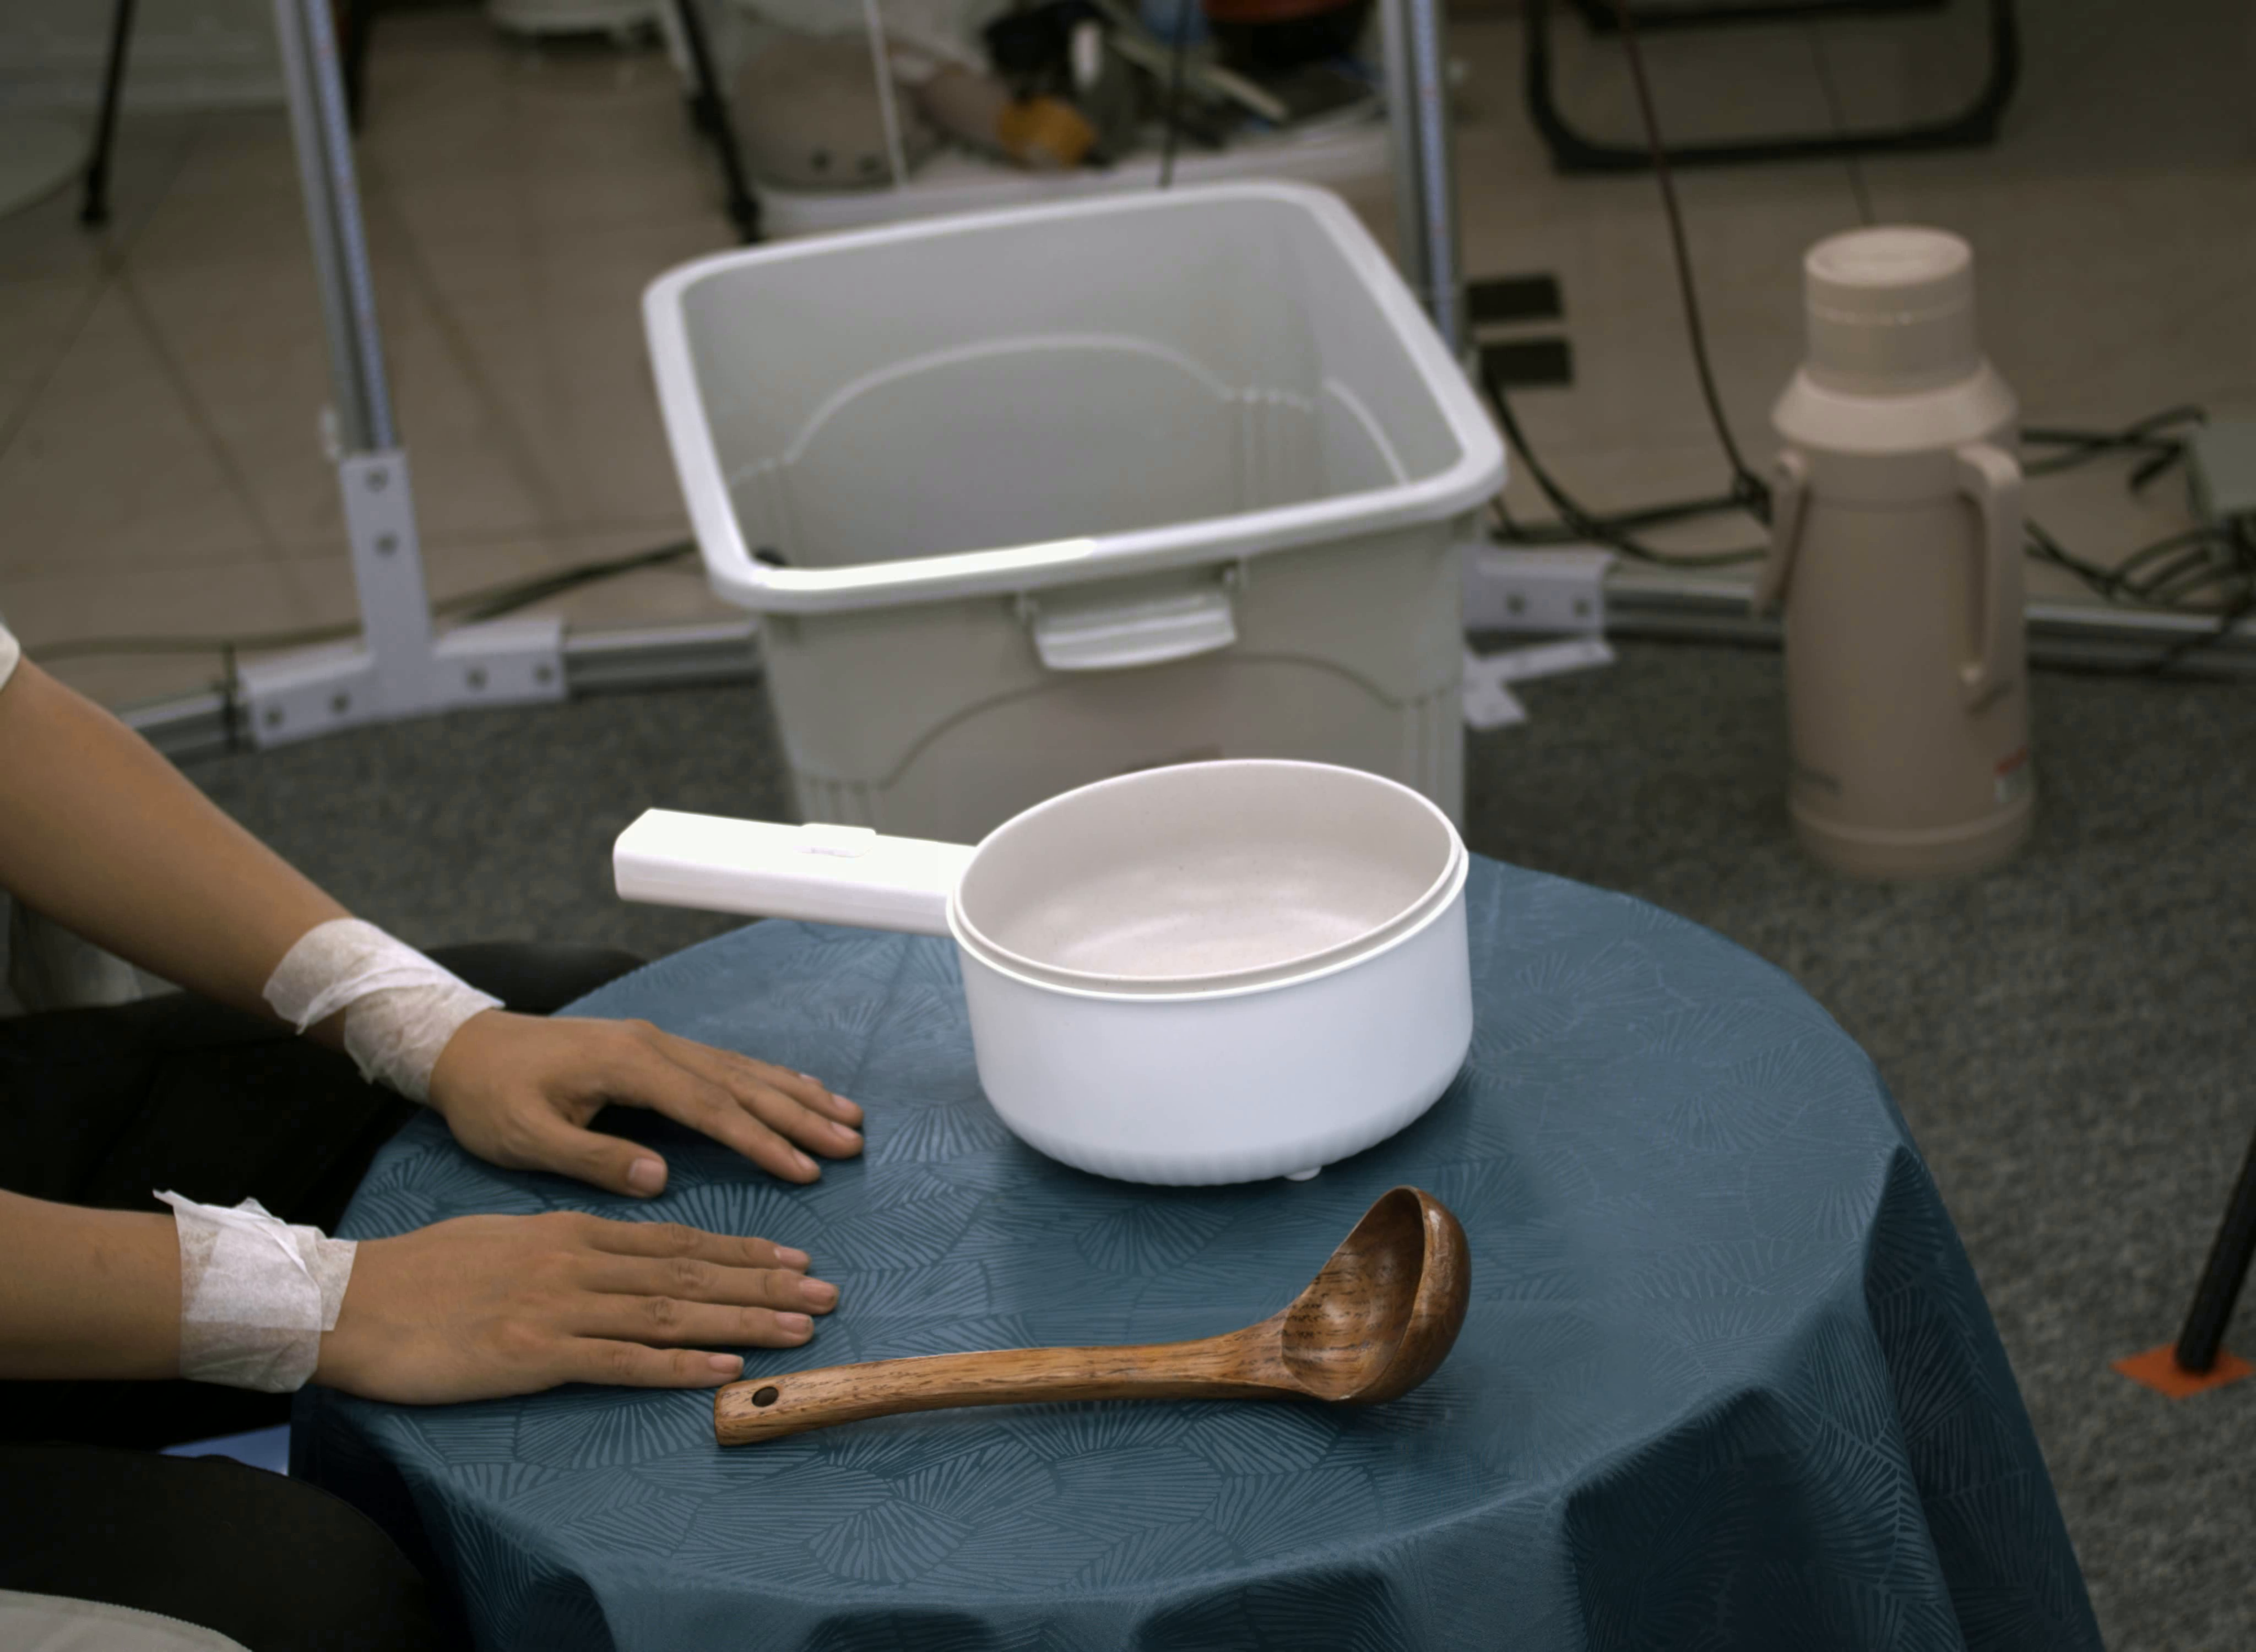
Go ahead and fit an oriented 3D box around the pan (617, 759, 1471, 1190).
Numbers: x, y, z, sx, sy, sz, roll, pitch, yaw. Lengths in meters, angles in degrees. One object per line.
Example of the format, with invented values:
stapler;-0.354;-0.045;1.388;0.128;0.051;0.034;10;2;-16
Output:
pan;-0.035;0.055;2.223;0.353;0.104;0.198;5;29;25

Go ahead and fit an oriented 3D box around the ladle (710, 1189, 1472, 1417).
ladle;-0.016;0.172;1.989;0.273;0.078;0.080;-2;38;5
